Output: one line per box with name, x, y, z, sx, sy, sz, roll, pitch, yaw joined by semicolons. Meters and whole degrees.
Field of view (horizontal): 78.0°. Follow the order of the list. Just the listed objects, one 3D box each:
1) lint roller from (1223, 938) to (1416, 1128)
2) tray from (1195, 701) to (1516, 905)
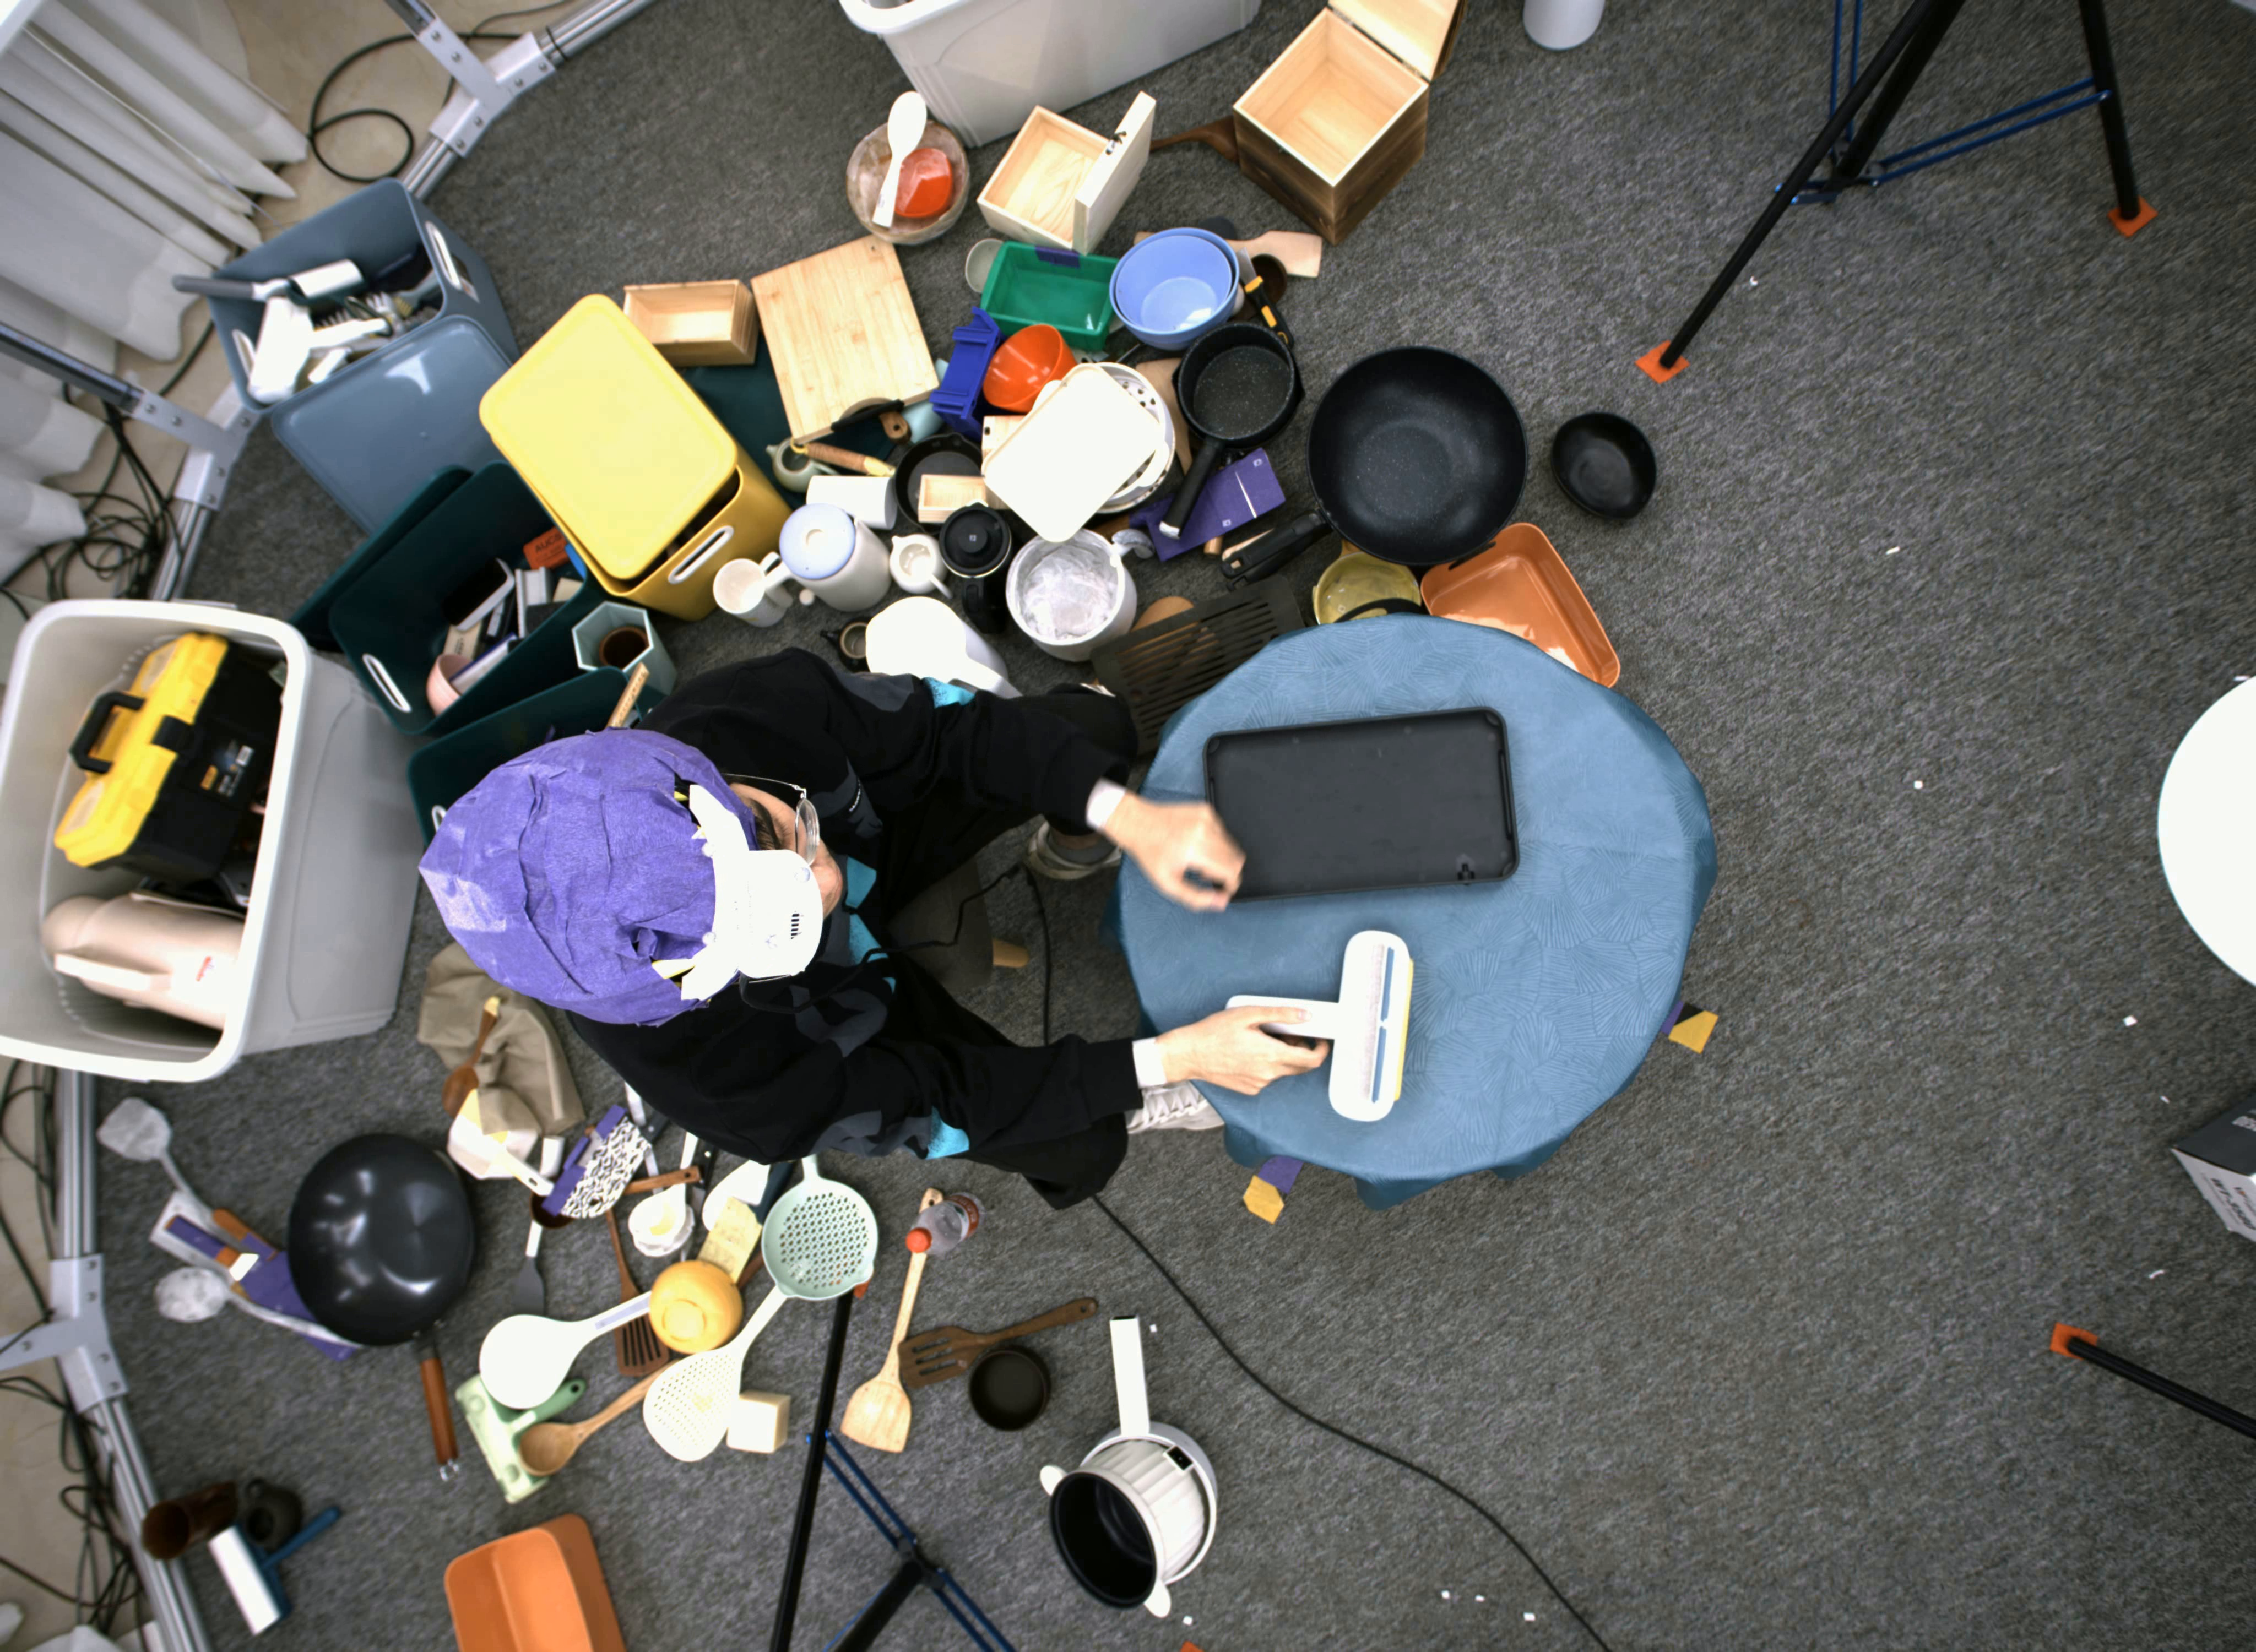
lint roller;0.190;0.201;1.429;0.193;0.074;0.191;10;82;12
tray;0.236;-0.023;1.448;0.319;0.037;0.183;-7;86;10
